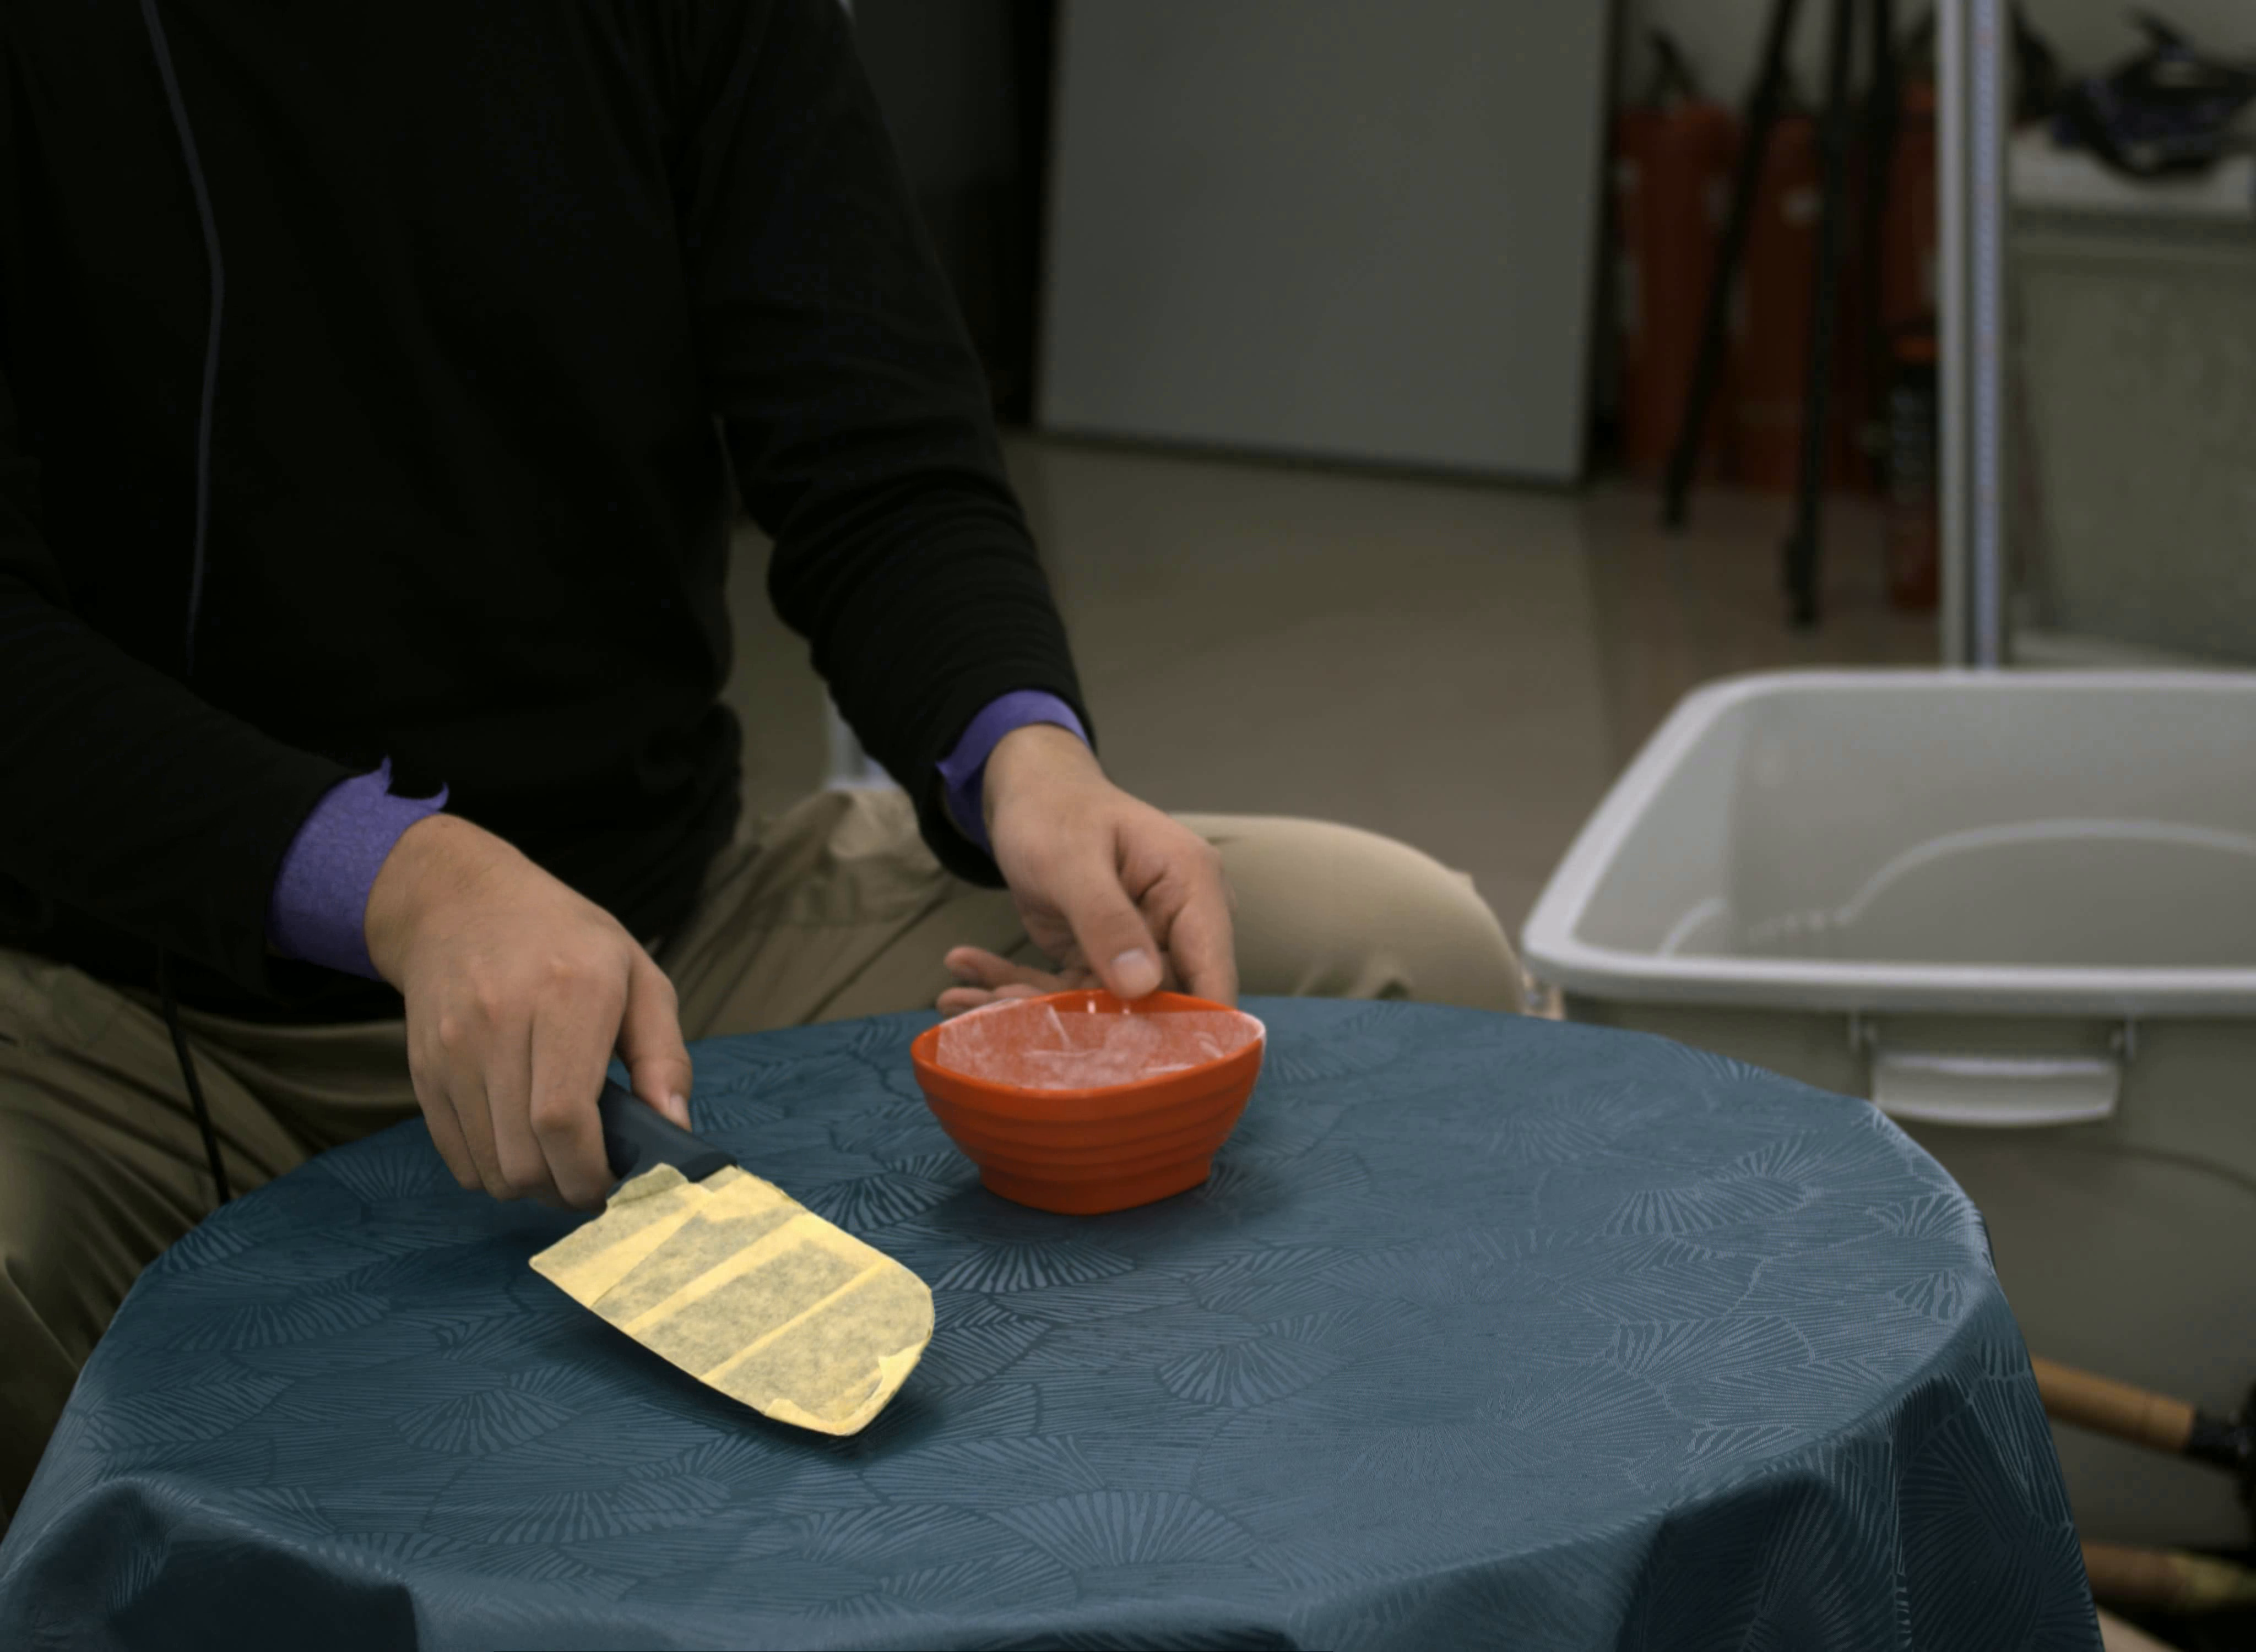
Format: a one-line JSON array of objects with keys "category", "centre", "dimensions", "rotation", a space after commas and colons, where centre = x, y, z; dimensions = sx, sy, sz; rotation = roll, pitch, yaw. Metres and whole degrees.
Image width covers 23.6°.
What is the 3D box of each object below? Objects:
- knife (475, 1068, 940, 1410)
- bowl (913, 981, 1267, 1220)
[{"category": "knife", "centre": [-0.142, 0.127, 1.675], "dimensions": [0.080, 0.027, 0.293], "rotation": [-28, 27, -22]}, {"category": "bowl", "centre": [-0.011, 0.093, 1.782], "dimensions": [0.117, 0.052, 0.119], "rotation": [-5, 16, 0]}]
